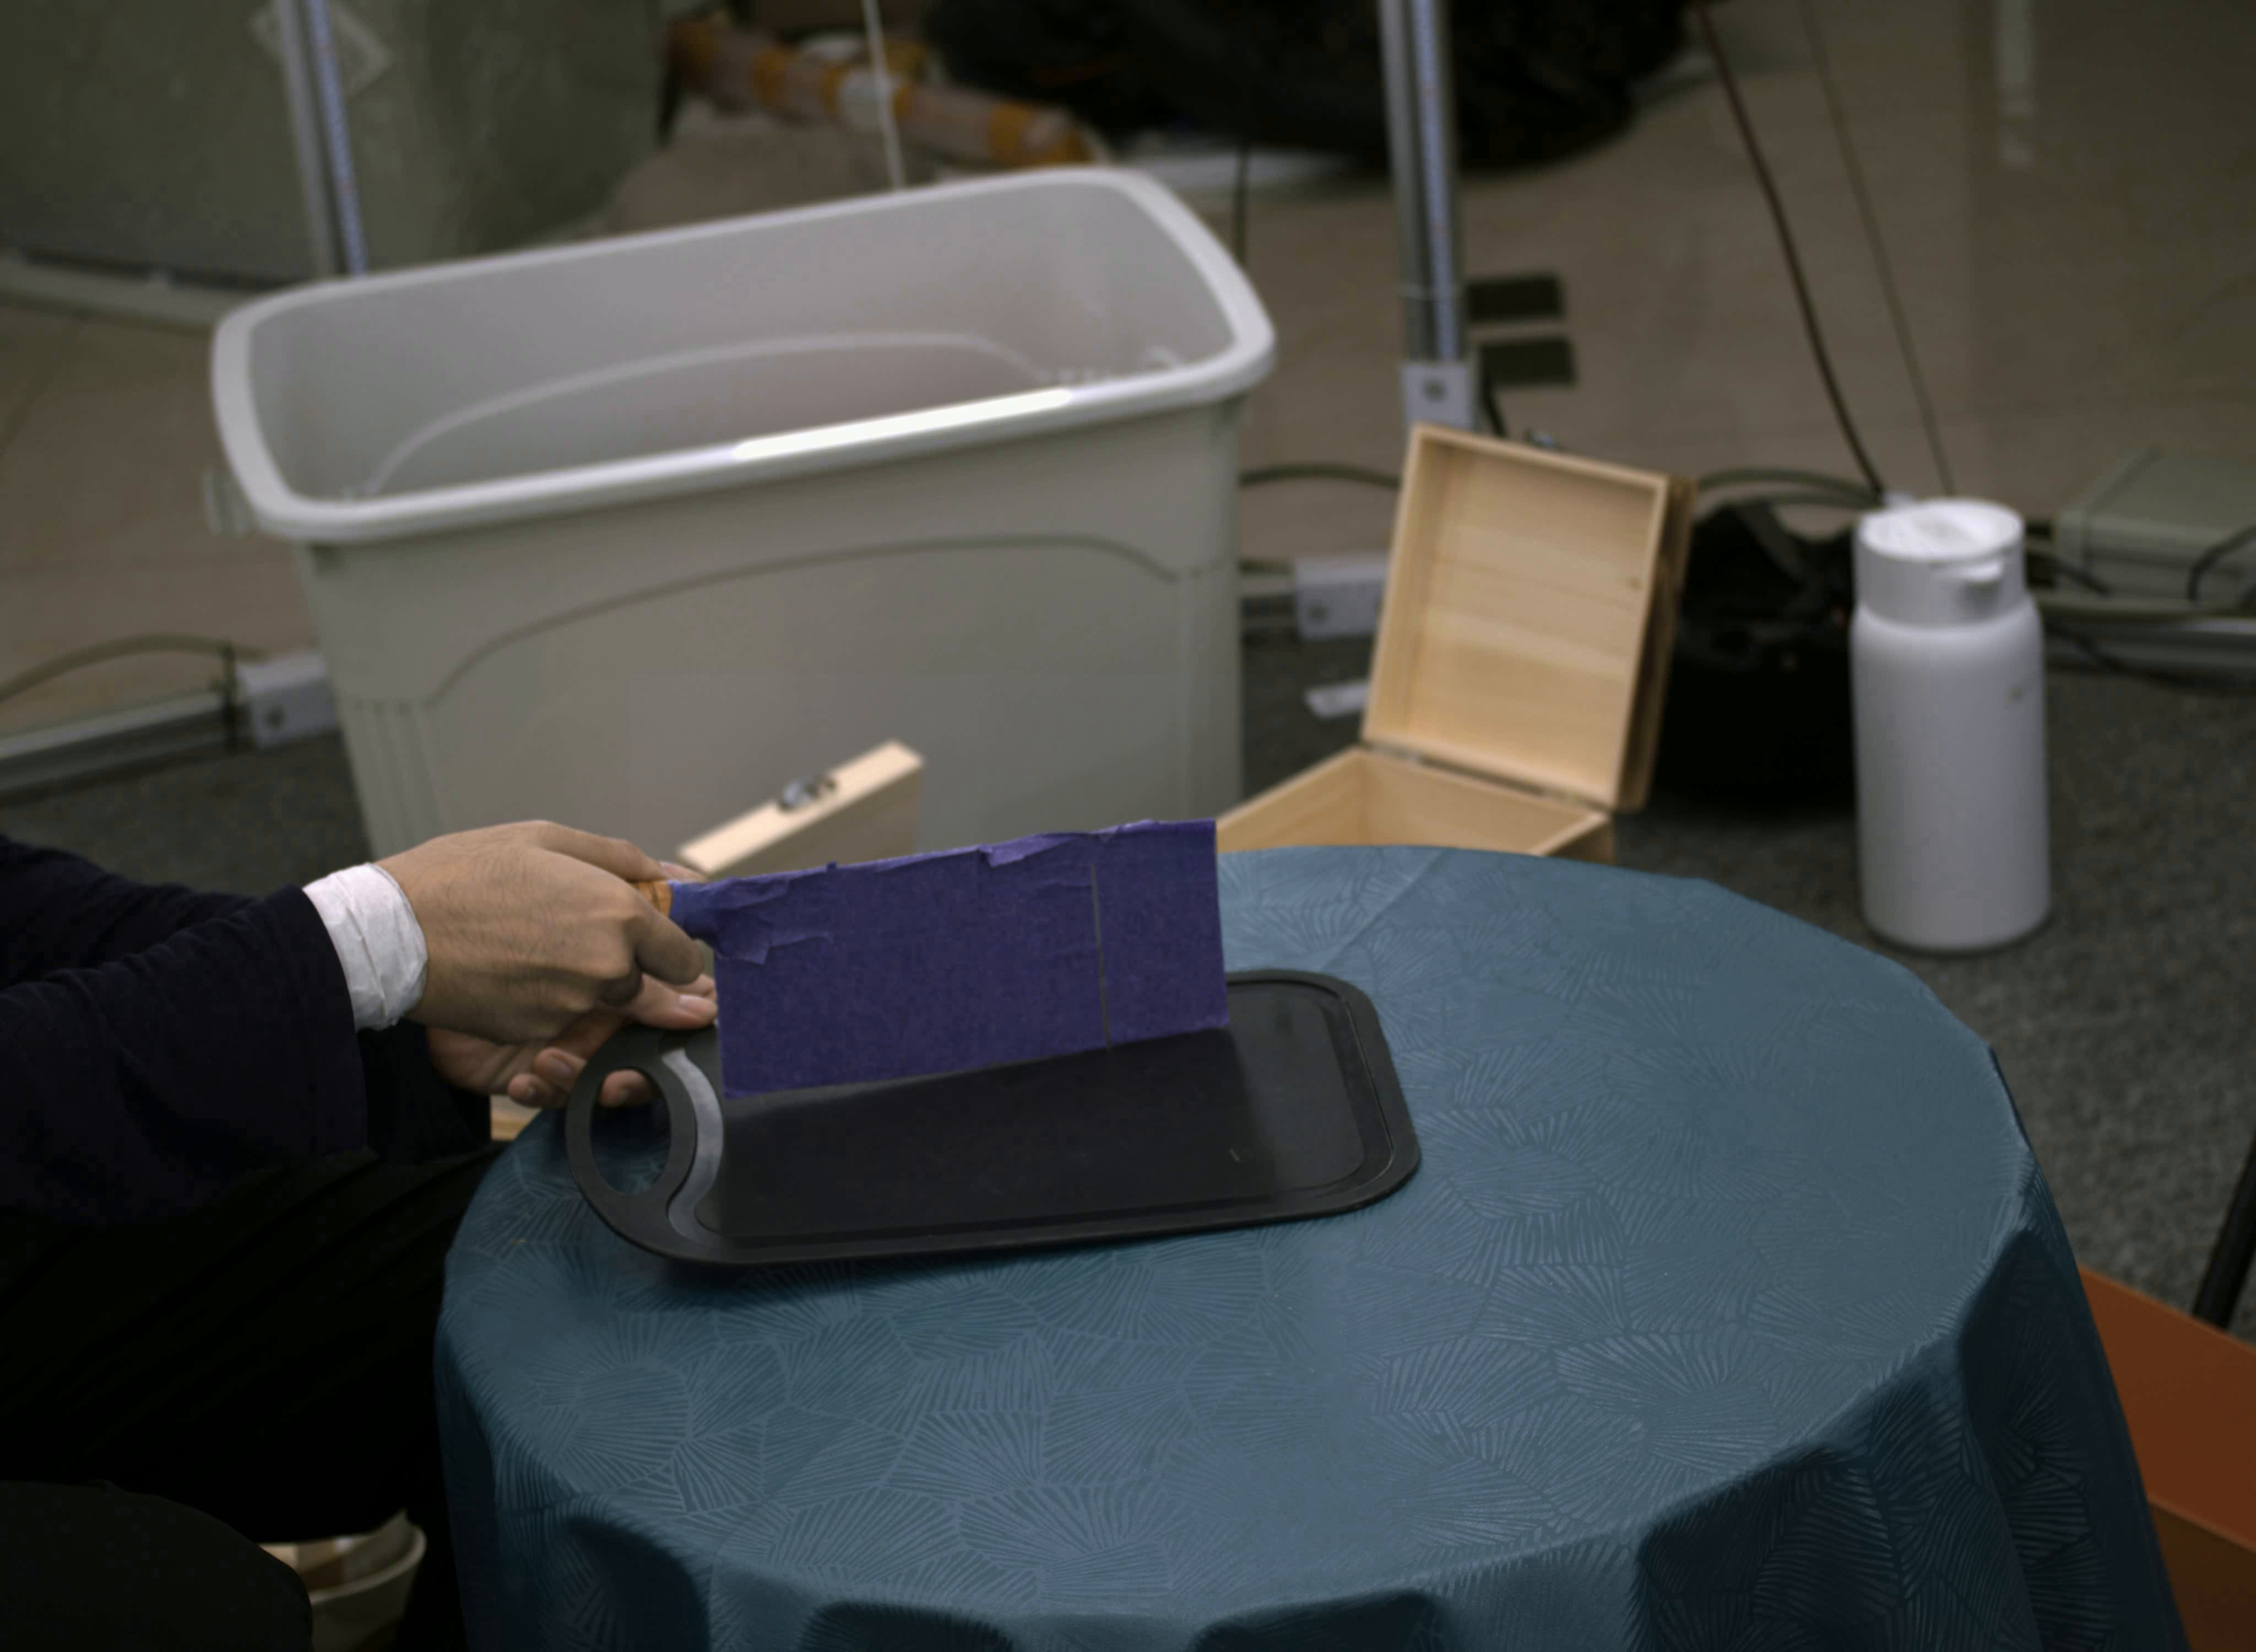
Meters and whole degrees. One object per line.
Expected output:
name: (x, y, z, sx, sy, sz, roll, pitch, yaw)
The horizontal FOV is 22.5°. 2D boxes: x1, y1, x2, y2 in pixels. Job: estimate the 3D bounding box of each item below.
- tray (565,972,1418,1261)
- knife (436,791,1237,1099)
tray: (-0.056, 0.110, 2.199, 0.325, 0.010, 0.208, -4, 25, -4)
knife: (-0.108, 0.057, 2.199, 0.314, 0.105, 0.032, -8, 18, -13)
